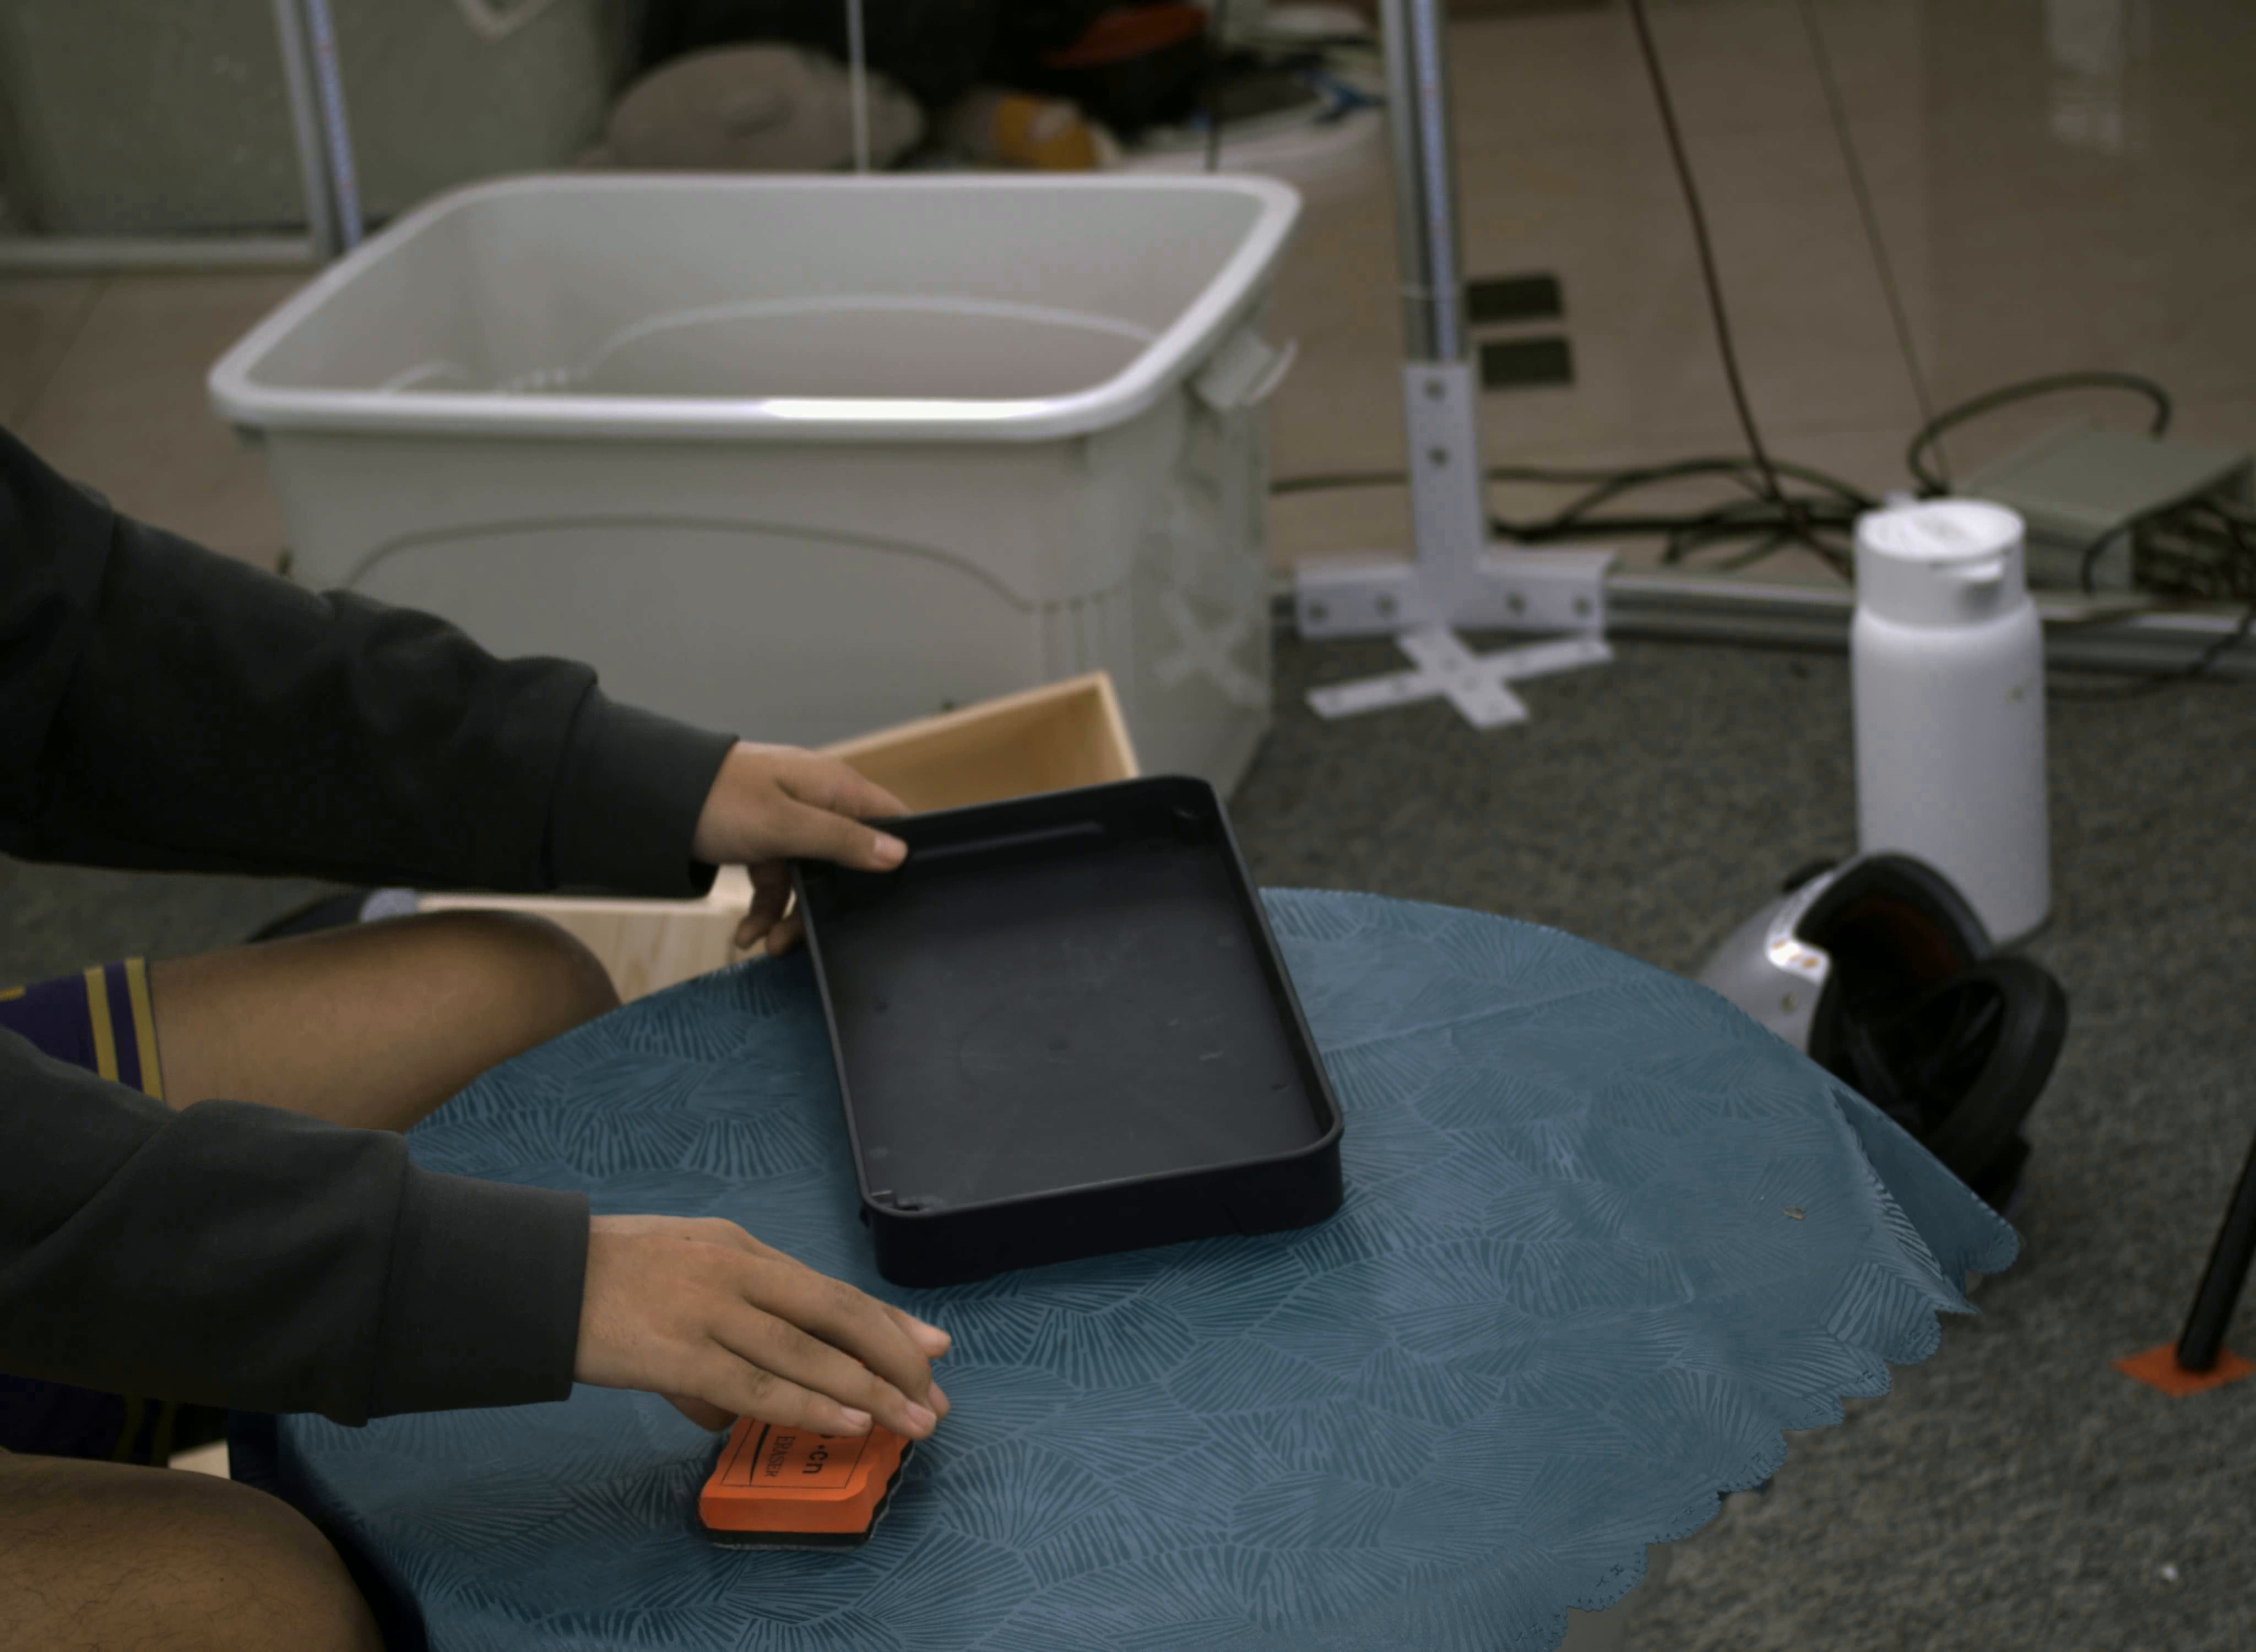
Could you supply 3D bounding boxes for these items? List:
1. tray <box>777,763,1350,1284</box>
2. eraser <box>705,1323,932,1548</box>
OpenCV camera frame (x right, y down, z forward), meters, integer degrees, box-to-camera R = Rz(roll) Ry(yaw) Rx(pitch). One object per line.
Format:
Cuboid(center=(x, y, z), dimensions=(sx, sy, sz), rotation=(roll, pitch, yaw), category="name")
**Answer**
Cuboid(center=(-0.030, 0.072, 2.232), dimensions=(0.184, 0.037, 0.313), rotation=(-10, 29, -6), category="tray")
Cuboid(center=(-0.107, 0.212, 1.981), dimensions=(0.059, 0.023, 0.106), rotation=(-8, 25, 17), category="eraser")
